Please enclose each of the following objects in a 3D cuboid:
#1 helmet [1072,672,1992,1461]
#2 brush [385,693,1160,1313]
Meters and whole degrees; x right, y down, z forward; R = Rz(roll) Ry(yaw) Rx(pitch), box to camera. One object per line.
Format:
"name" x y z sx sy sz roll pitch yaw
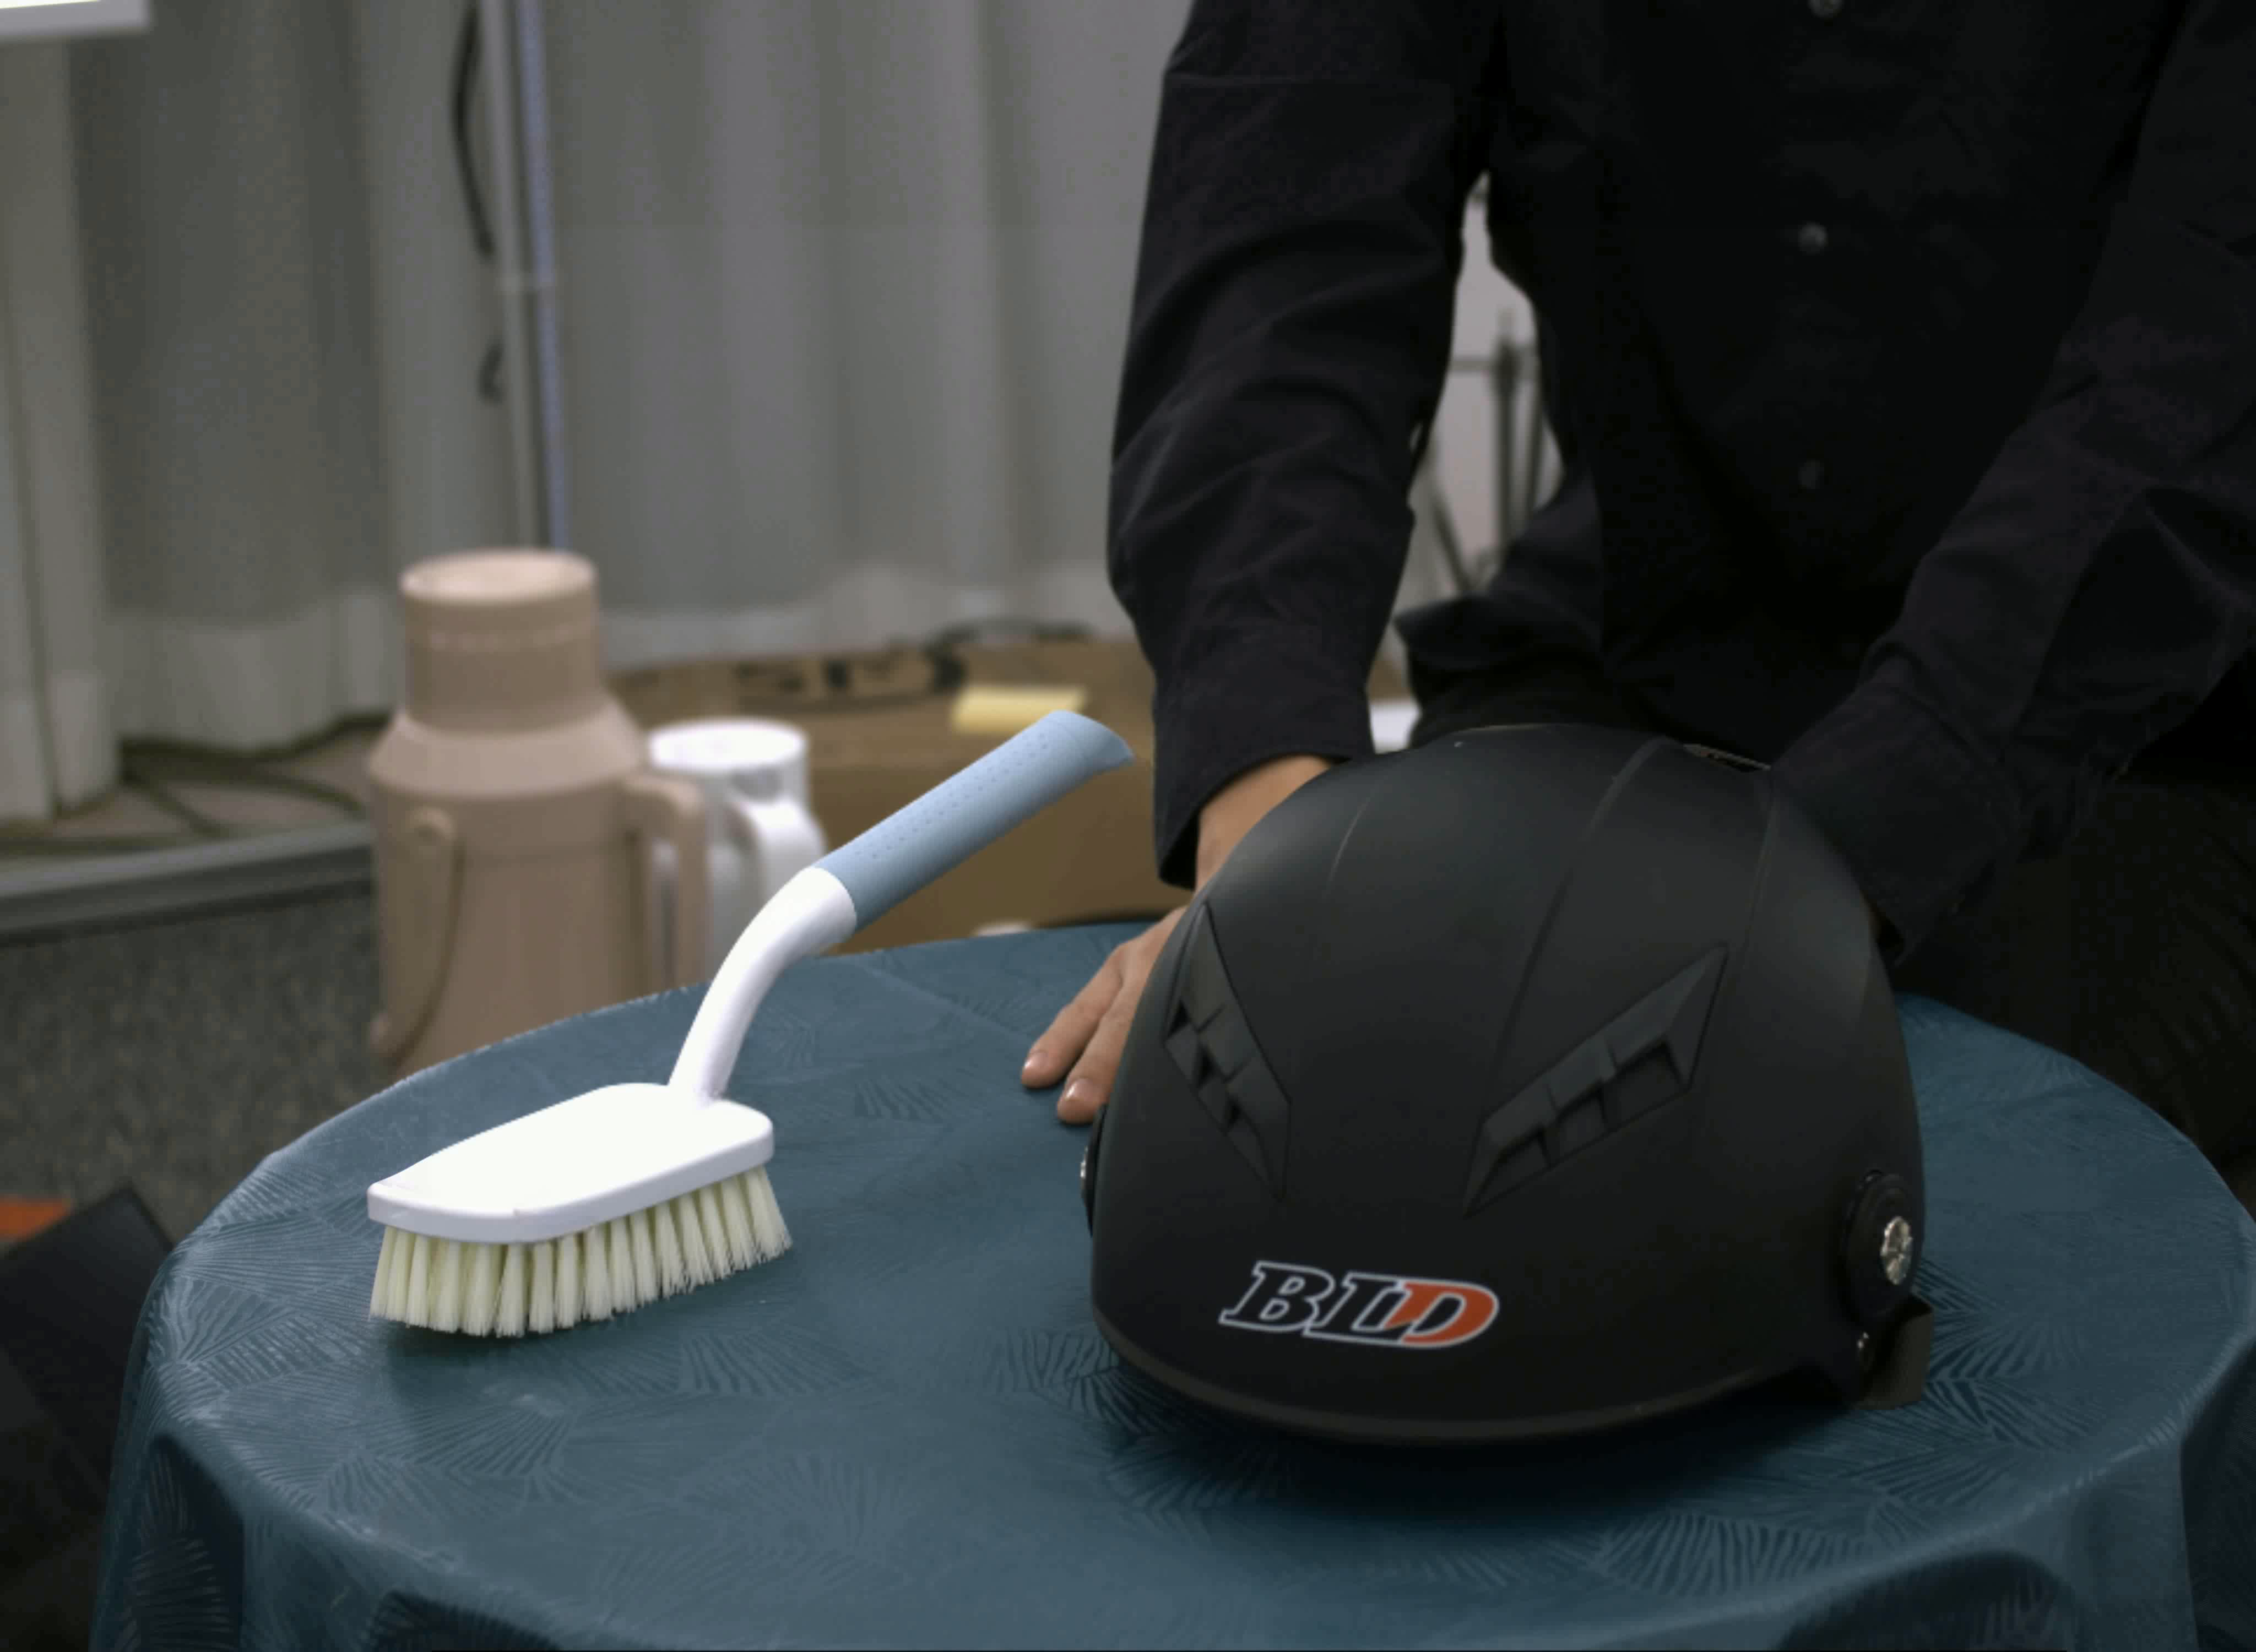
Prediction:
"helmet" 0.107 0.056 1.430 0.250 0.172 0.273 4 19 23
"brush" -0.090 0.066 1.574 0.084 0.085 0.320 43 49 16
